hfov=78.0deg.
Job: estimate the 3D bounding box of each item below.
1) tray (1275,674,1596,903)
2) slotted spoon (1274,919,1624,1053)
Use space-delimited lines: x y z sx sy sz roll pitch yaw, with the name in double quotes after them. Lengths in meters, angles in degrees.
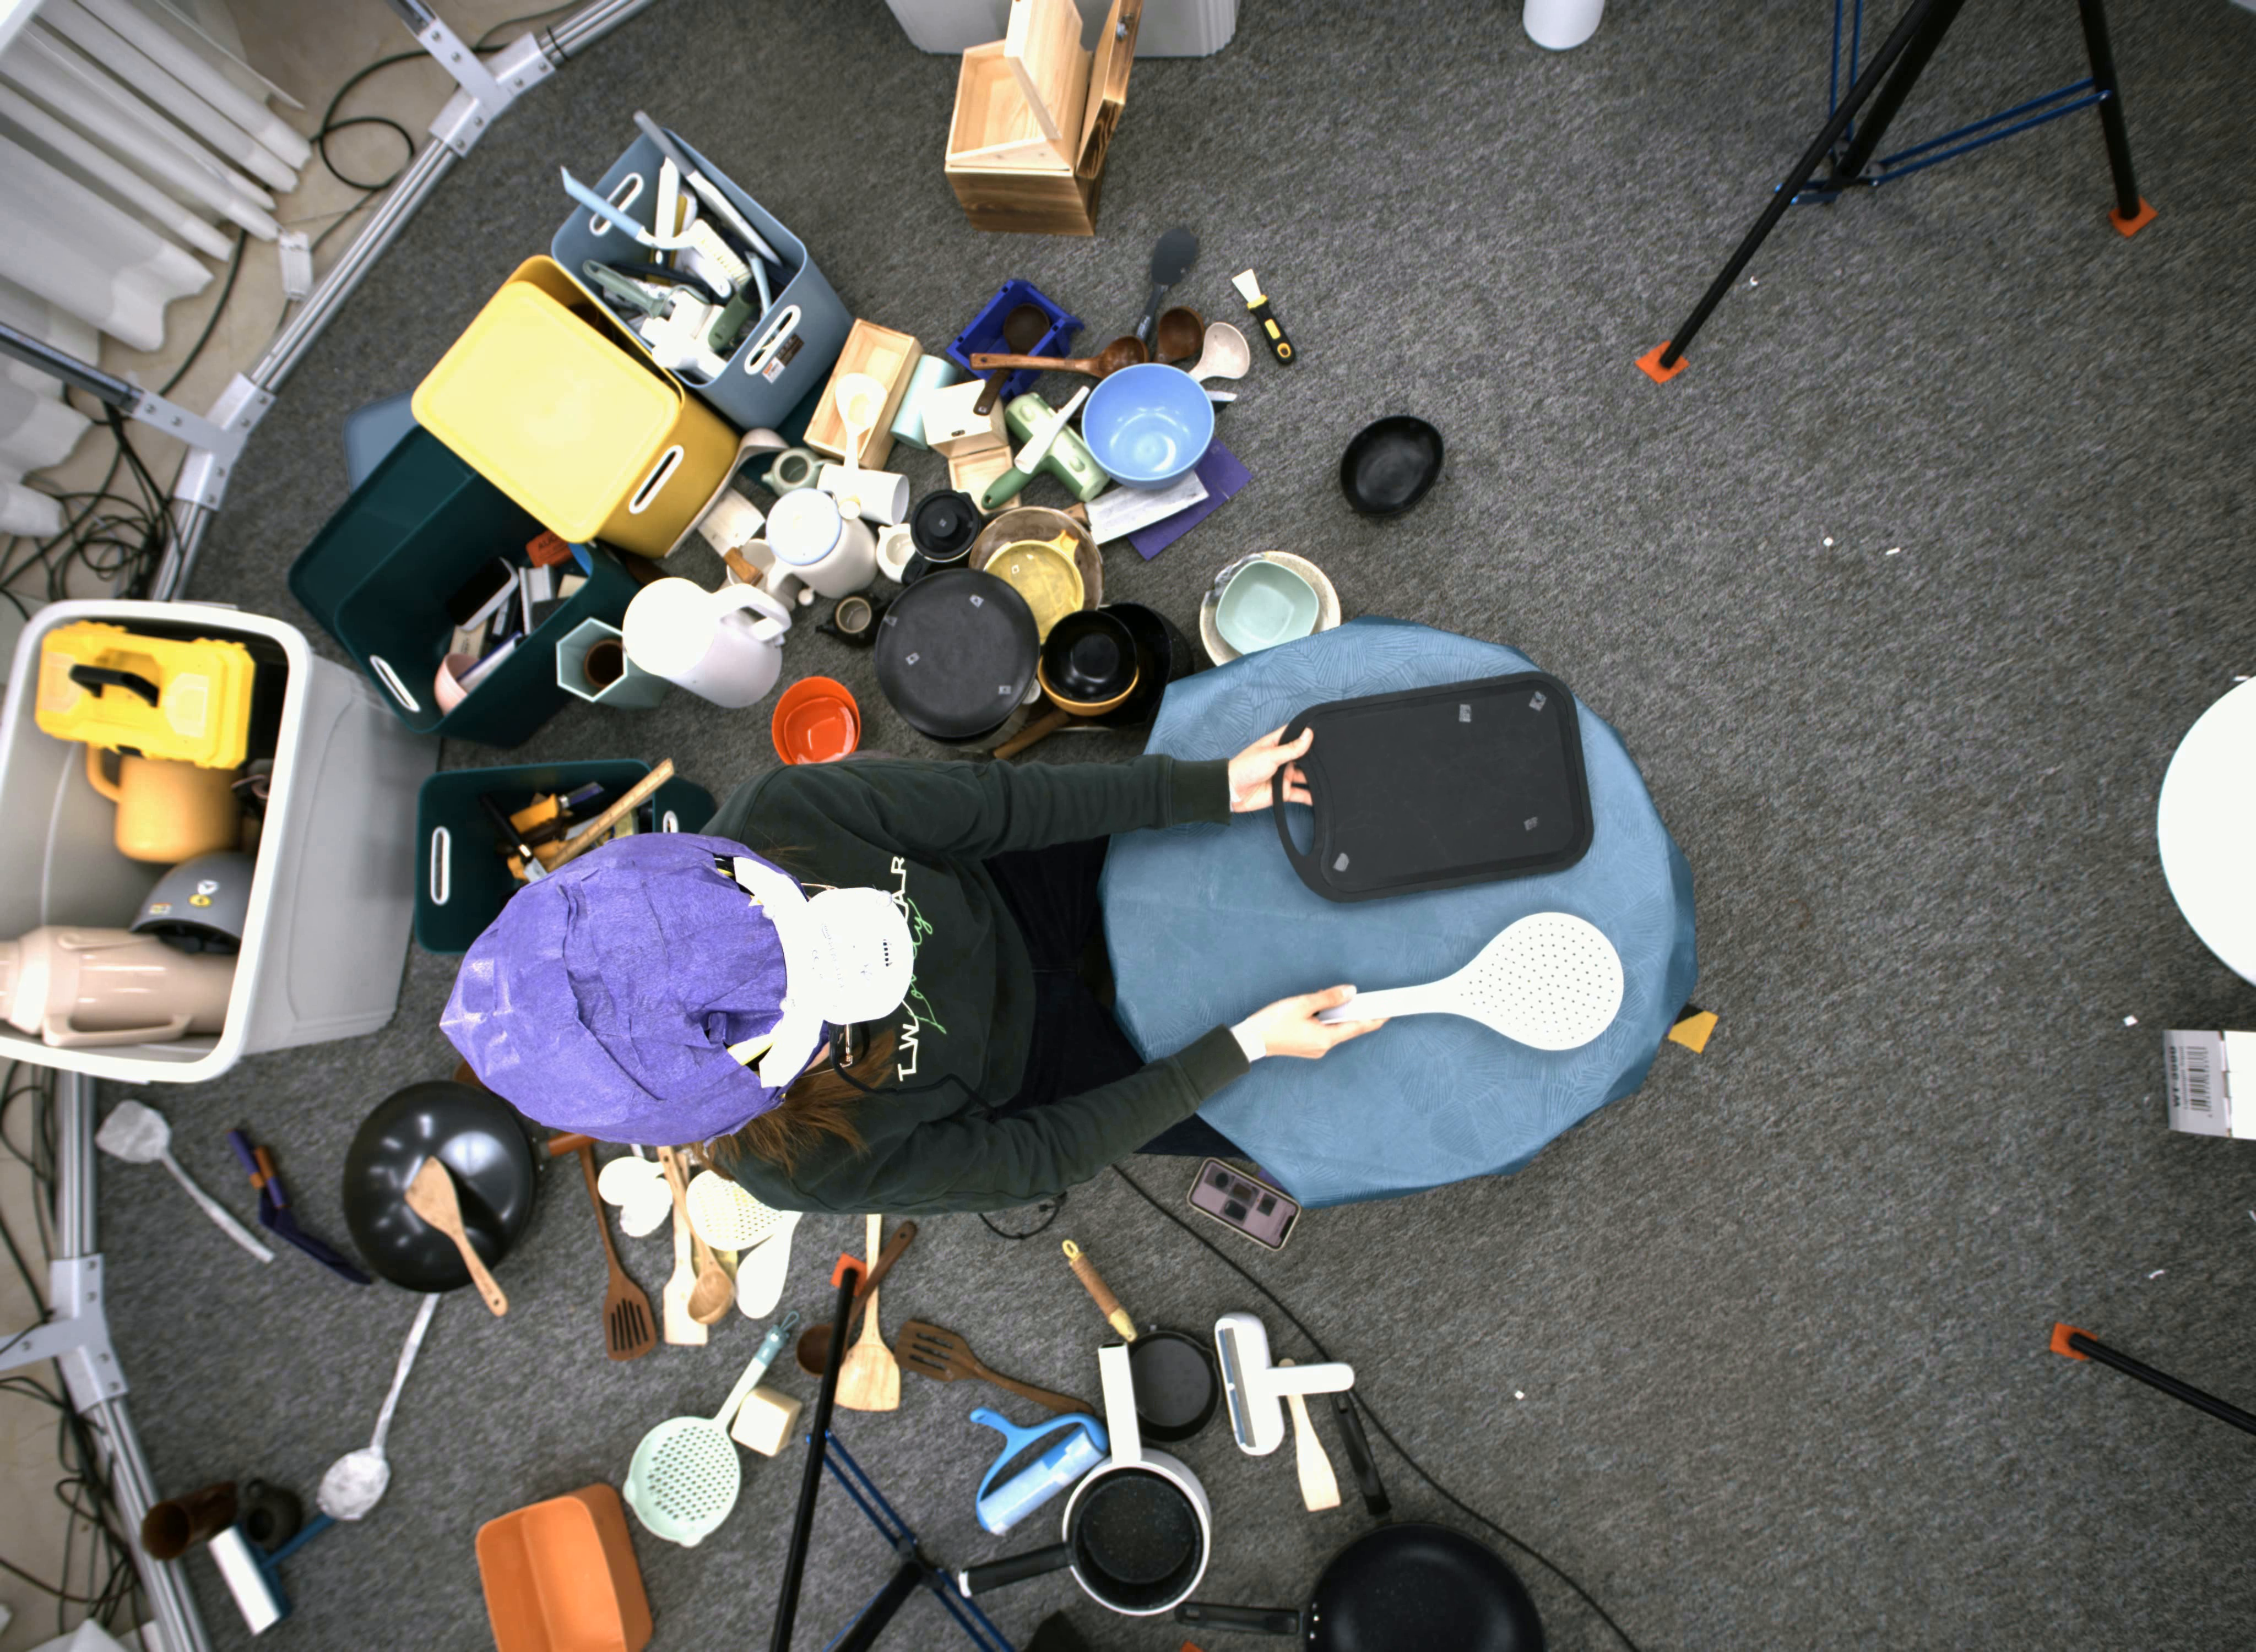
0.316 -0.038 1.425 0.326 0.010 0.211 -9 92 4 "tray"
0.324 0.176 1.410 0.351 0.046 0.134 -8 77 6 "slotted spoon"
